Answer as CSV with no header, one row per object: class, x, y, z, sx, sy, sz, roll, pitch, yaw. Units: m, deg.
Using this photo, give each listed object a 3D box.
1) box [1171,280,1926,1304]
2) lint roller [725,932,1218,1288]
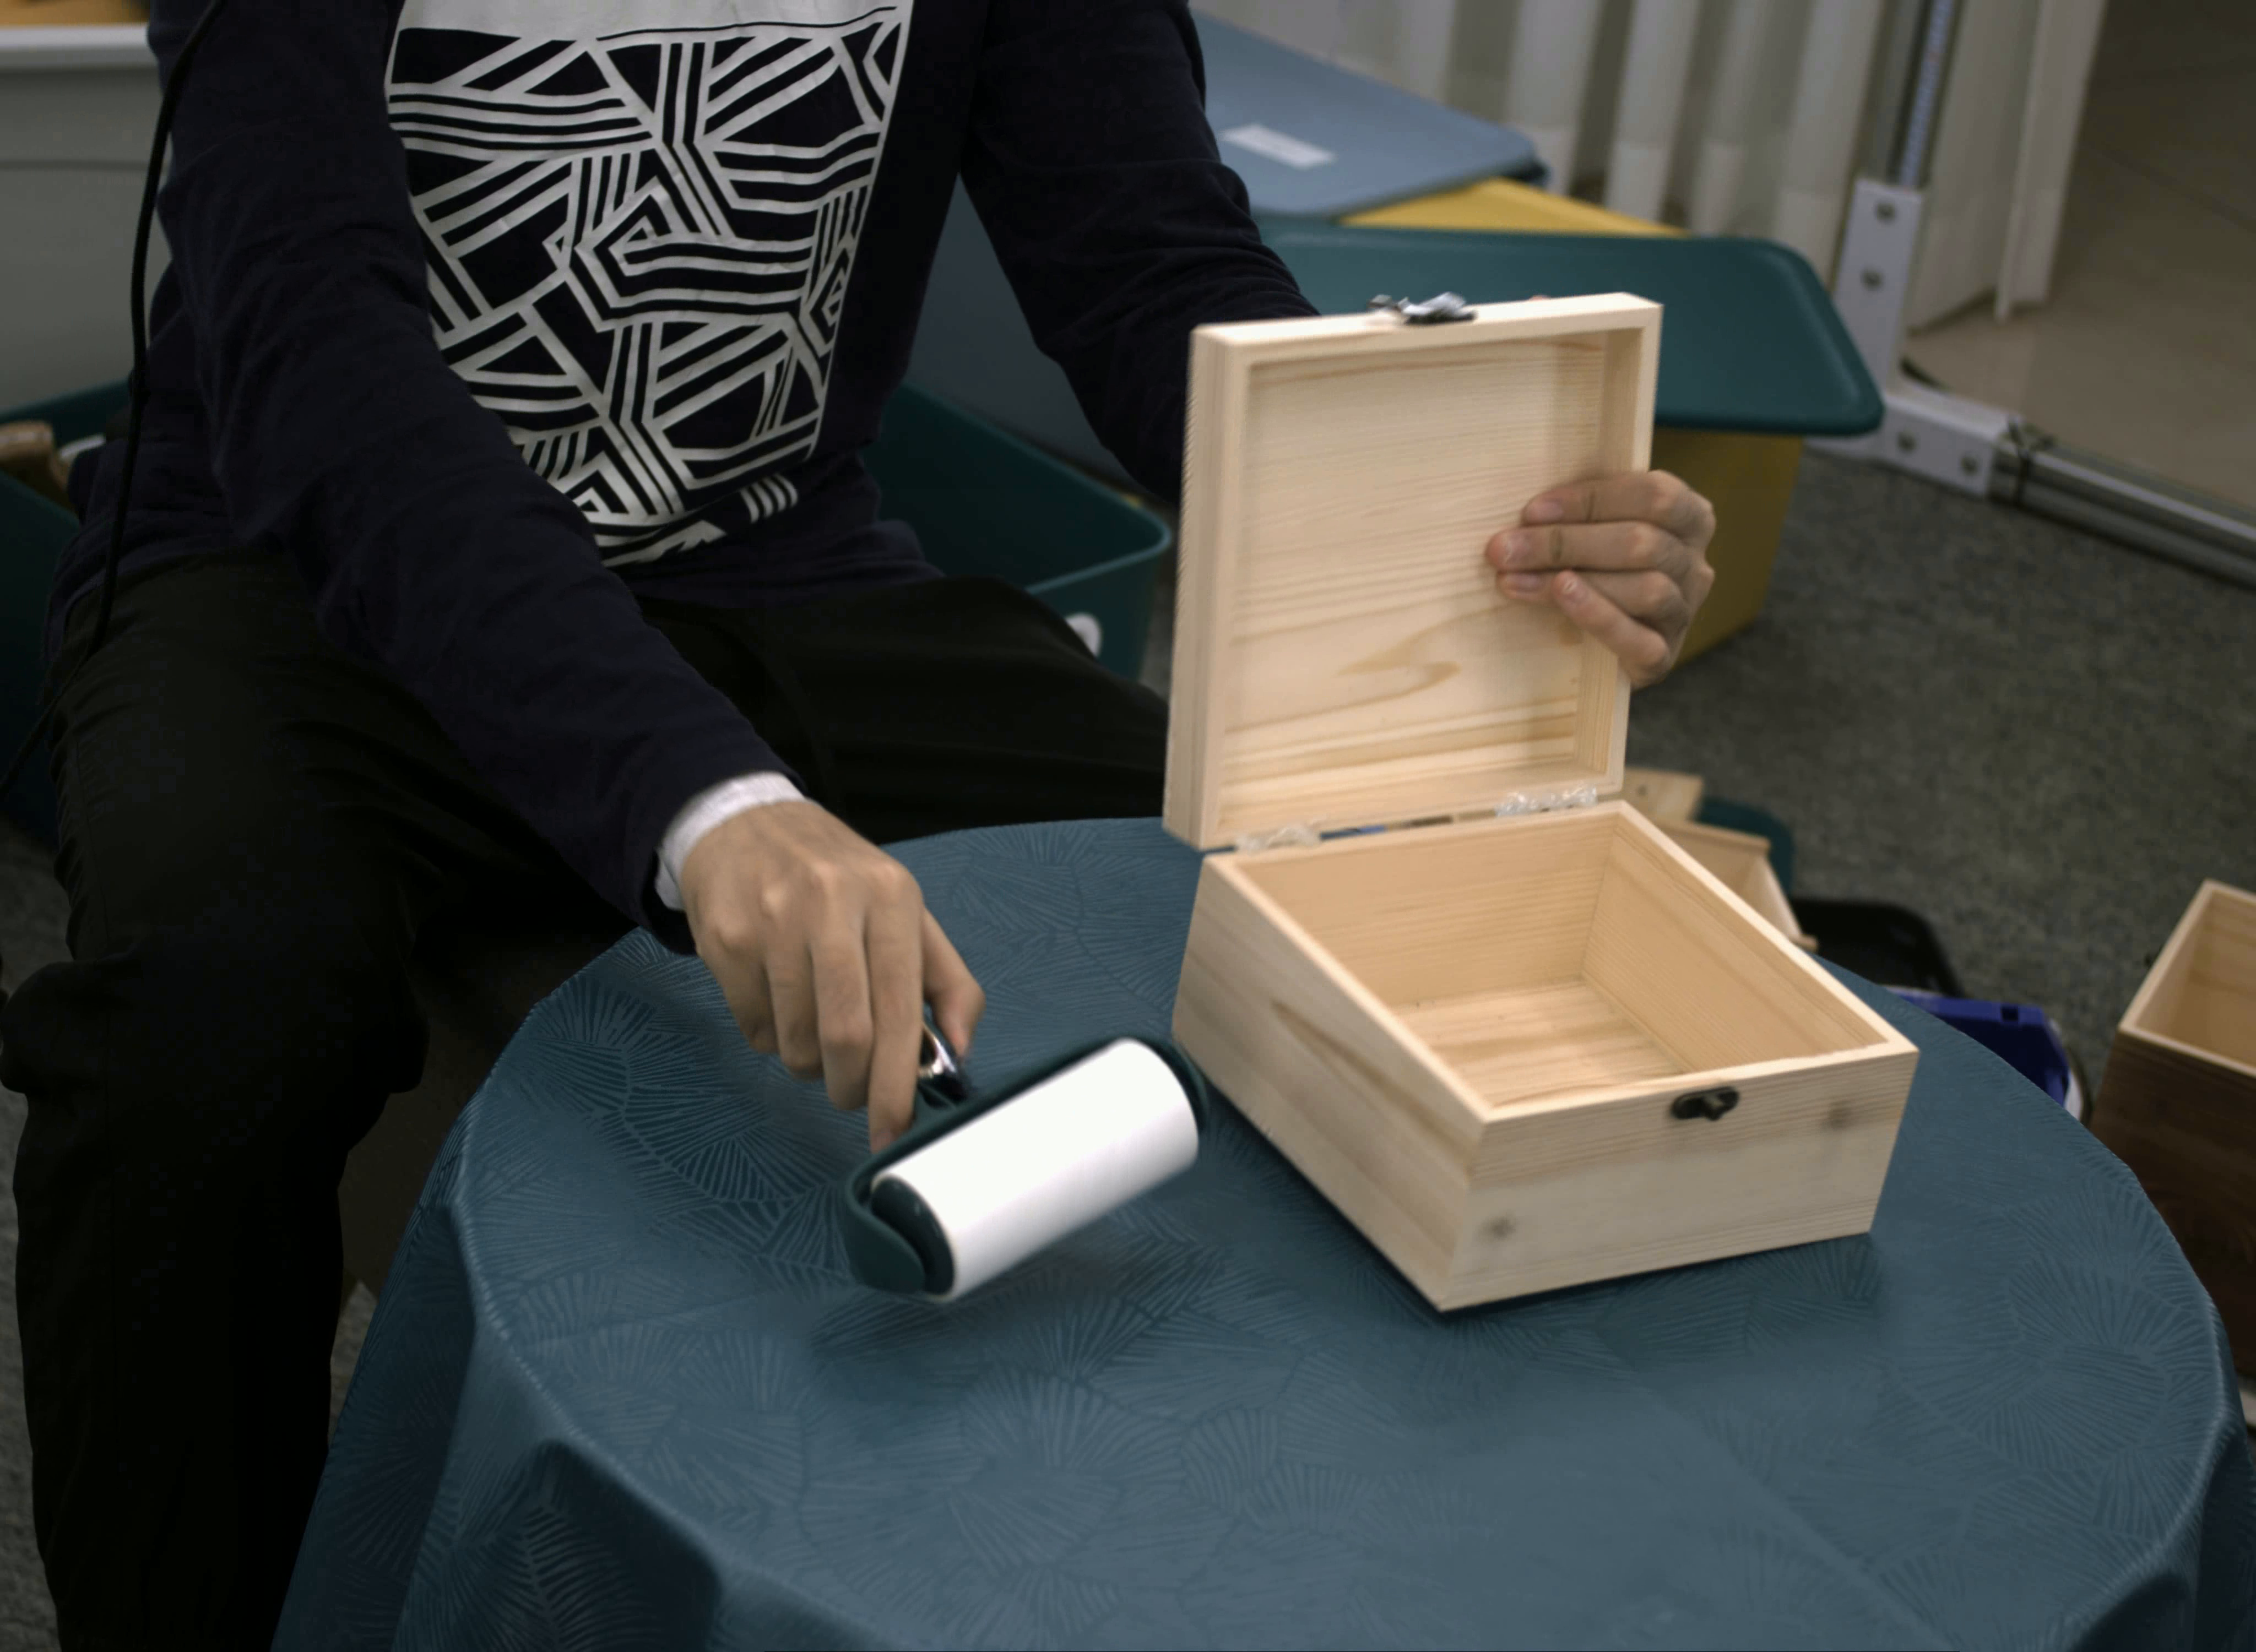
box,0.142,-0.020,1.820,0.180,0.252,0.267,-7,32,-32
lint roller,-0.075,0.071,1.758,0.134,0.048,0.181,-29,50,-28
